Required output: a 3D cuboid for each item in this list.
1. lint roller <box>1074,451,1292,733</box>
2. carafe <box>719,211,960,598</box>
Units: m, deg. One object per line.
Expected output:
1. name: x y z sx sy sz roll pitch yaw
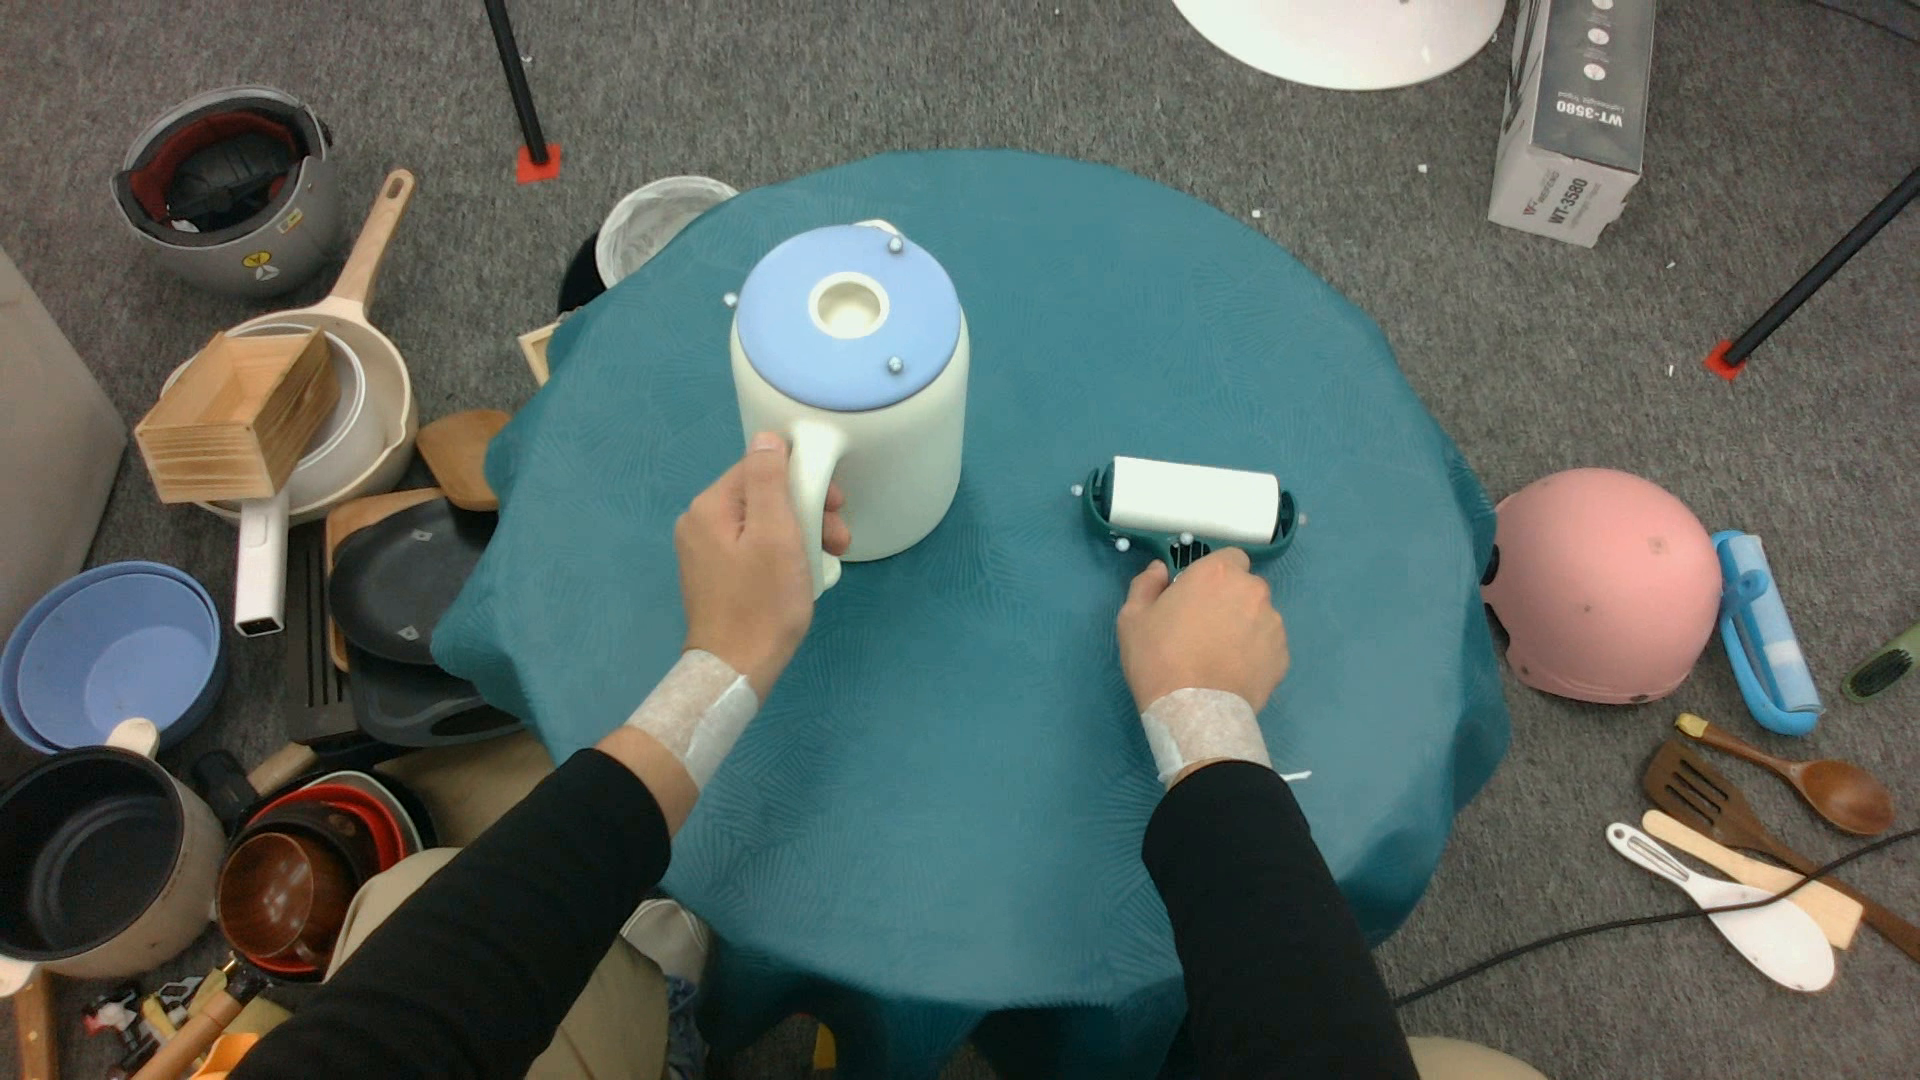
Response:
1. lint roller: 0.129 0.025 0.803 0.134 0.048 0.181 7 49 0
2. carafe: -0.073 -0.063 0.784 0.132 0.182 0.192 11 64 3
